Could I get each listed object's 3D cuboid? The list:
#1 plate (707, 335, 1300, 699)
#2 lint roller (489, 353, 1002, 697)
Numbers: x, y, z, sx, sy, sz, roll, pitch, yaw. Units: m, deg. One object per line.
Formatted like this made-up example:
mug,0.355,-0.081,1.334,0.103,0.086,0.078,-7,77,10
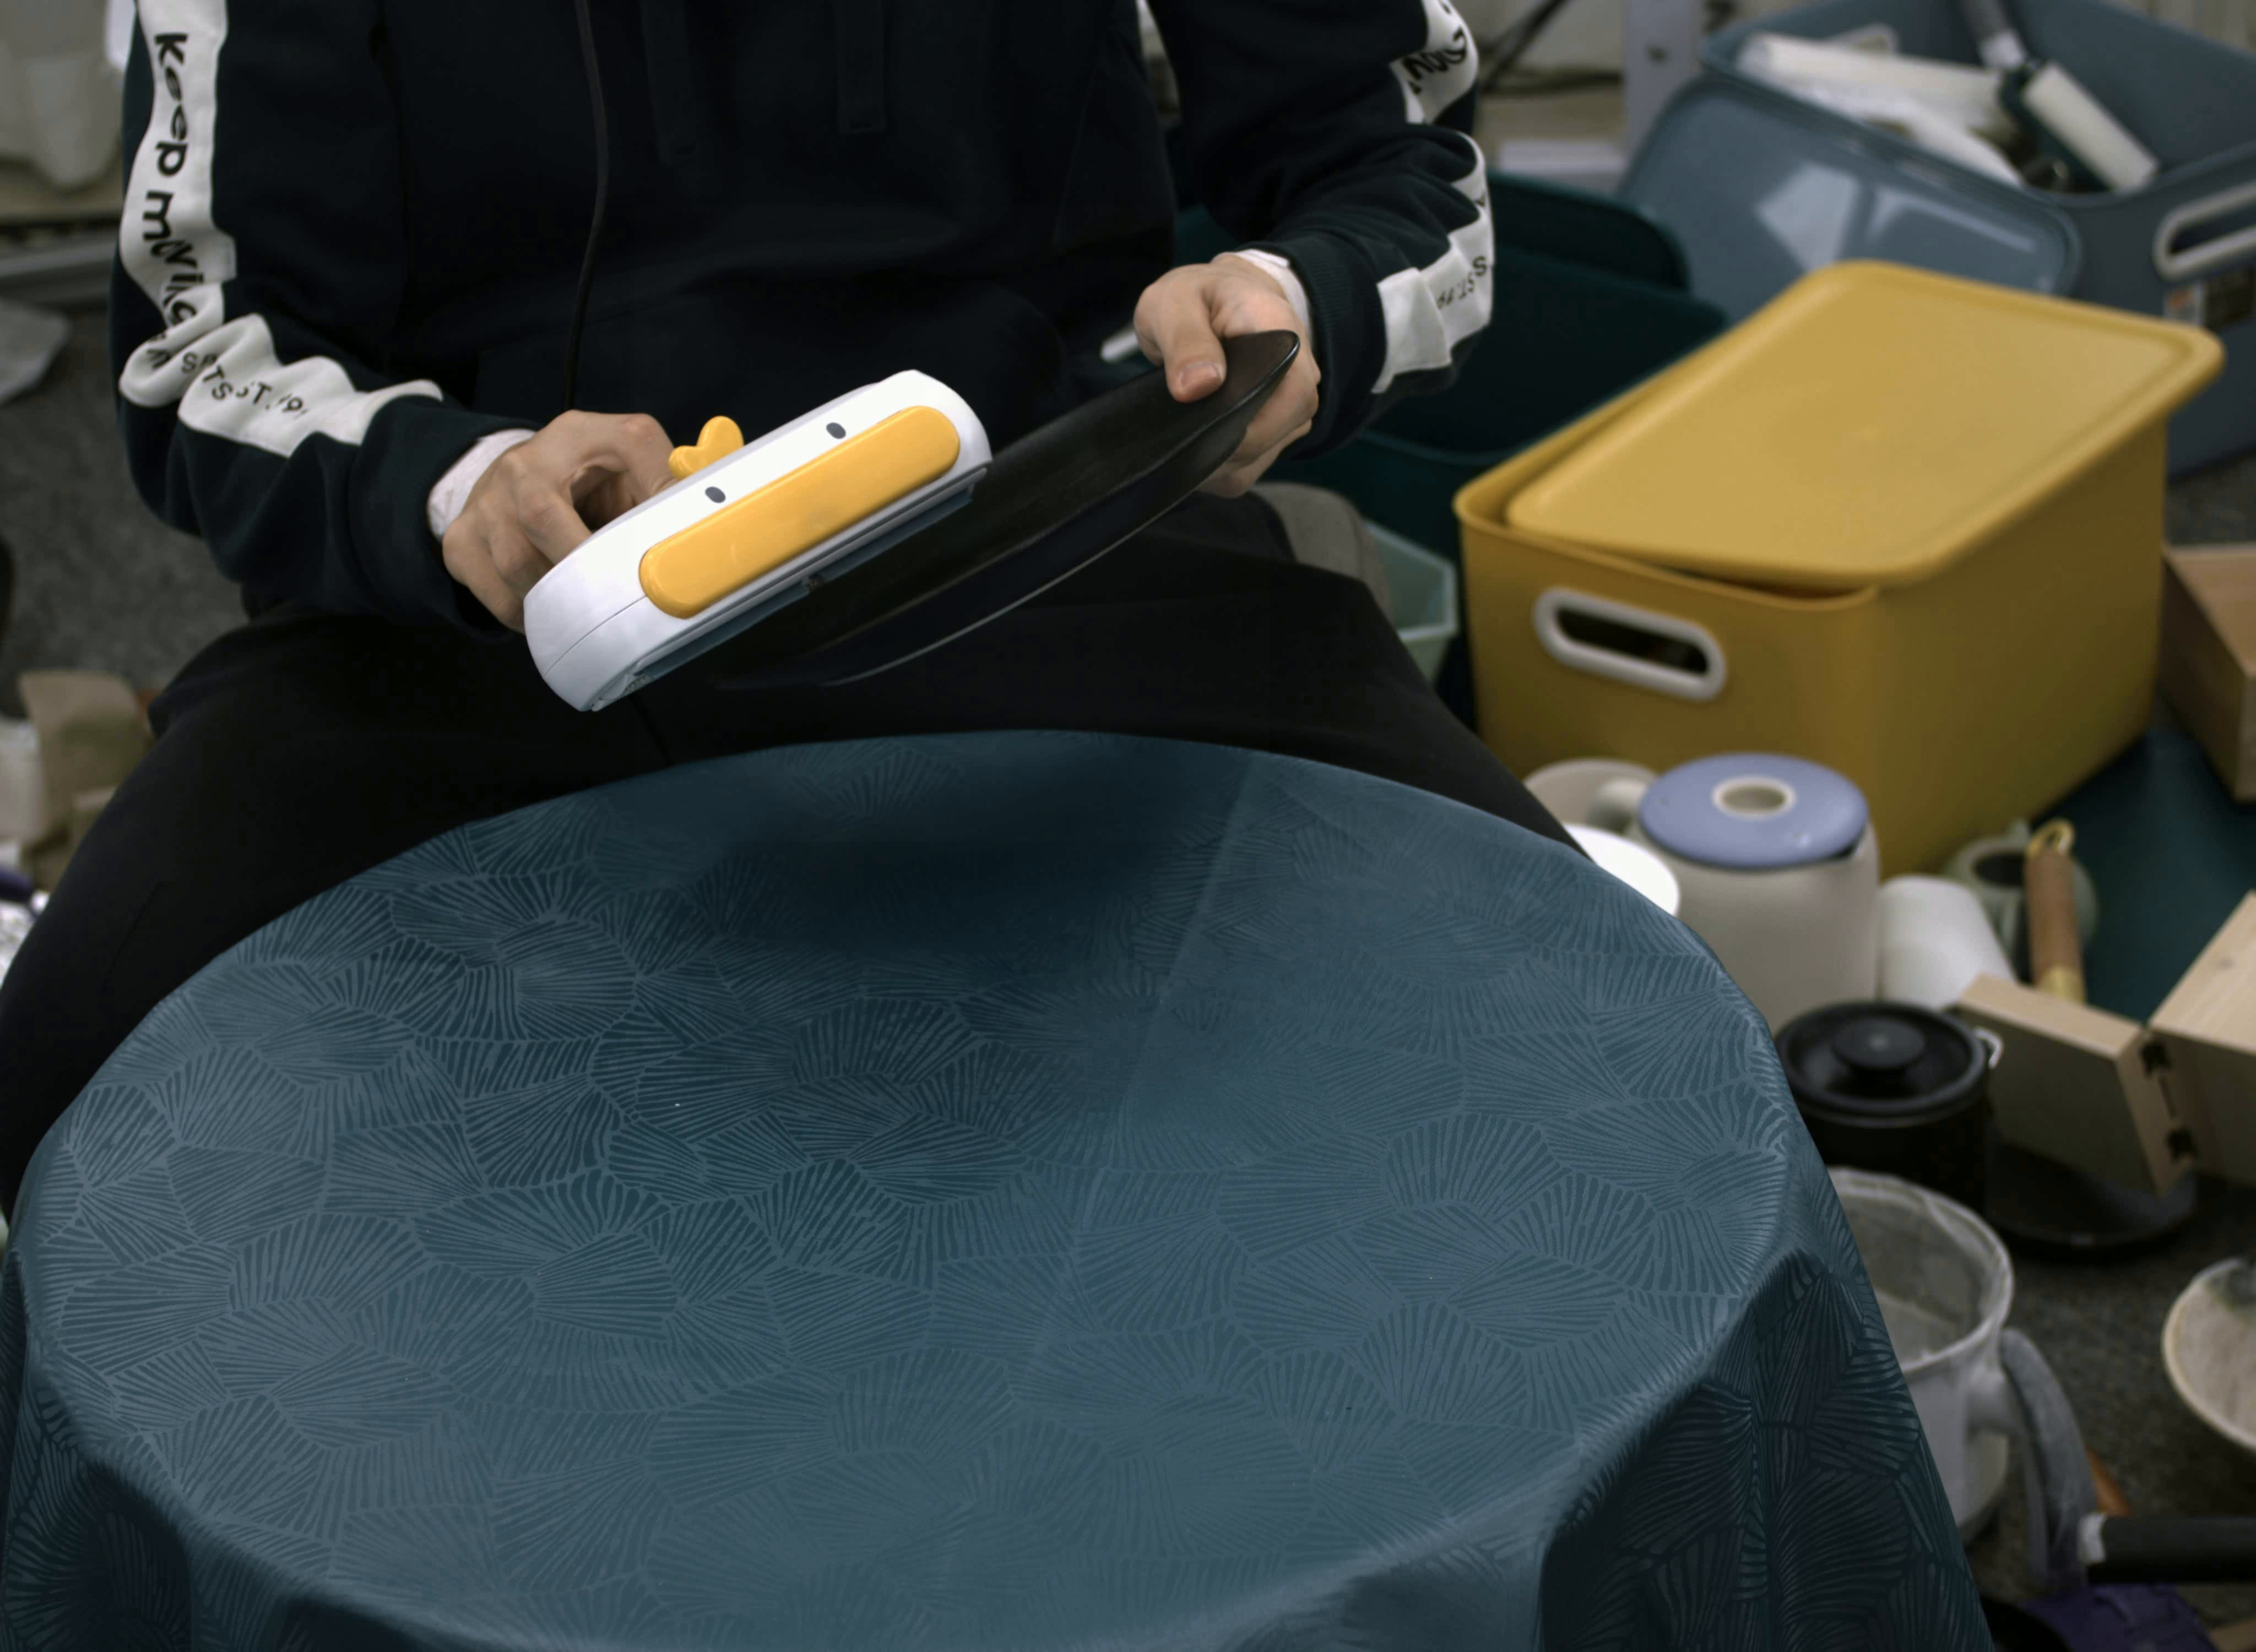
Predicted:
plate,-0.040,-0.104,1.999,0.243,0.023,0.246,-29,11,6
lint roller,-0.161,-0.095,2.011,0.196,0.074,0.189,-38,8,-40
